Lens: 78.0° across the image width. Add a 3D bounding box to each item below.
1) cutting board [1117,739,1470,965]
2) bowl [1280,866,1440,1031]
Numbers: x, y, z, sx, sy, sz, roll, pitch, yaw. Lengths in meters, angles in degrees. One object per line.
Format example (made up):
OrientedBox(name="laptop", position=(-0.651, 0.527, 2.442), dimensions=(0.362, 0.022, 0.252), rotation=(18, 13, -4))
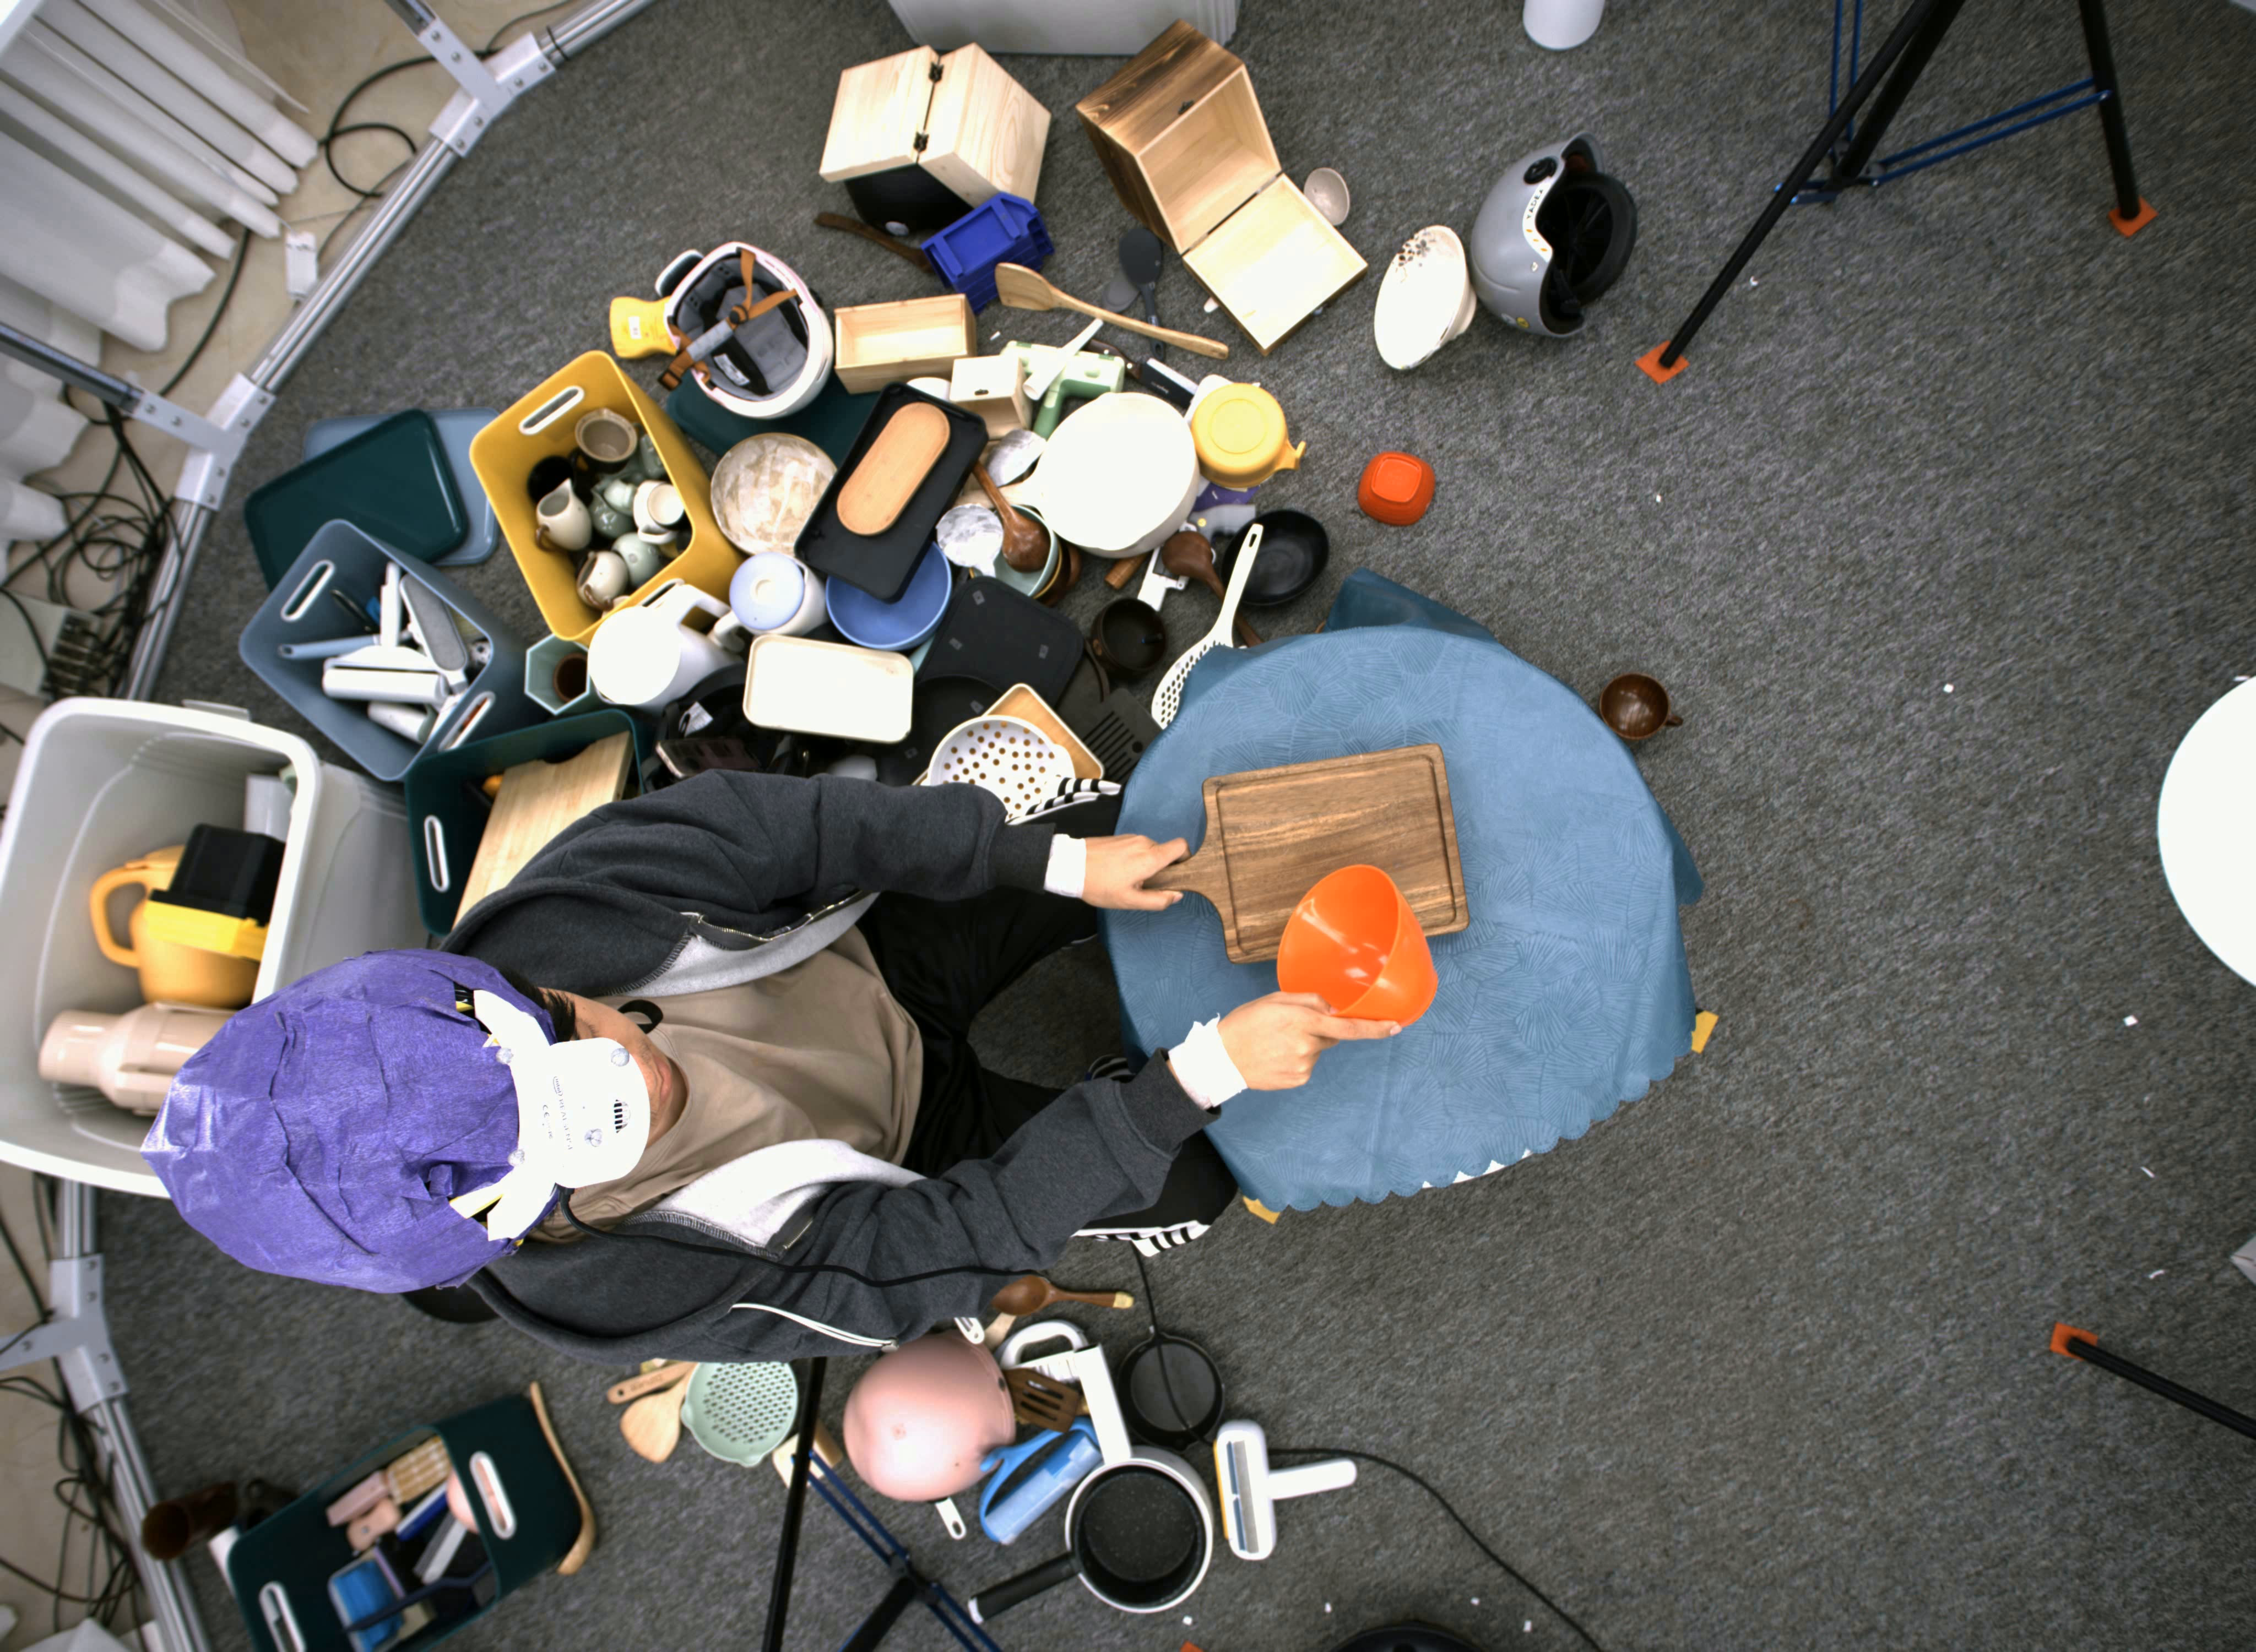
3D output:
OrientedBox(name="cutting board", position=(0.163, 0.034, 1.424), dimensions=(0.353, 0.023, 0.201), rotation=(-9, 90, 4))
OrientedBox(name="bowl", position=(0.221, 0.122, 1.255), dimensions=(0.105, 0.147, 0.148), rotation=(33, 91, -23))
